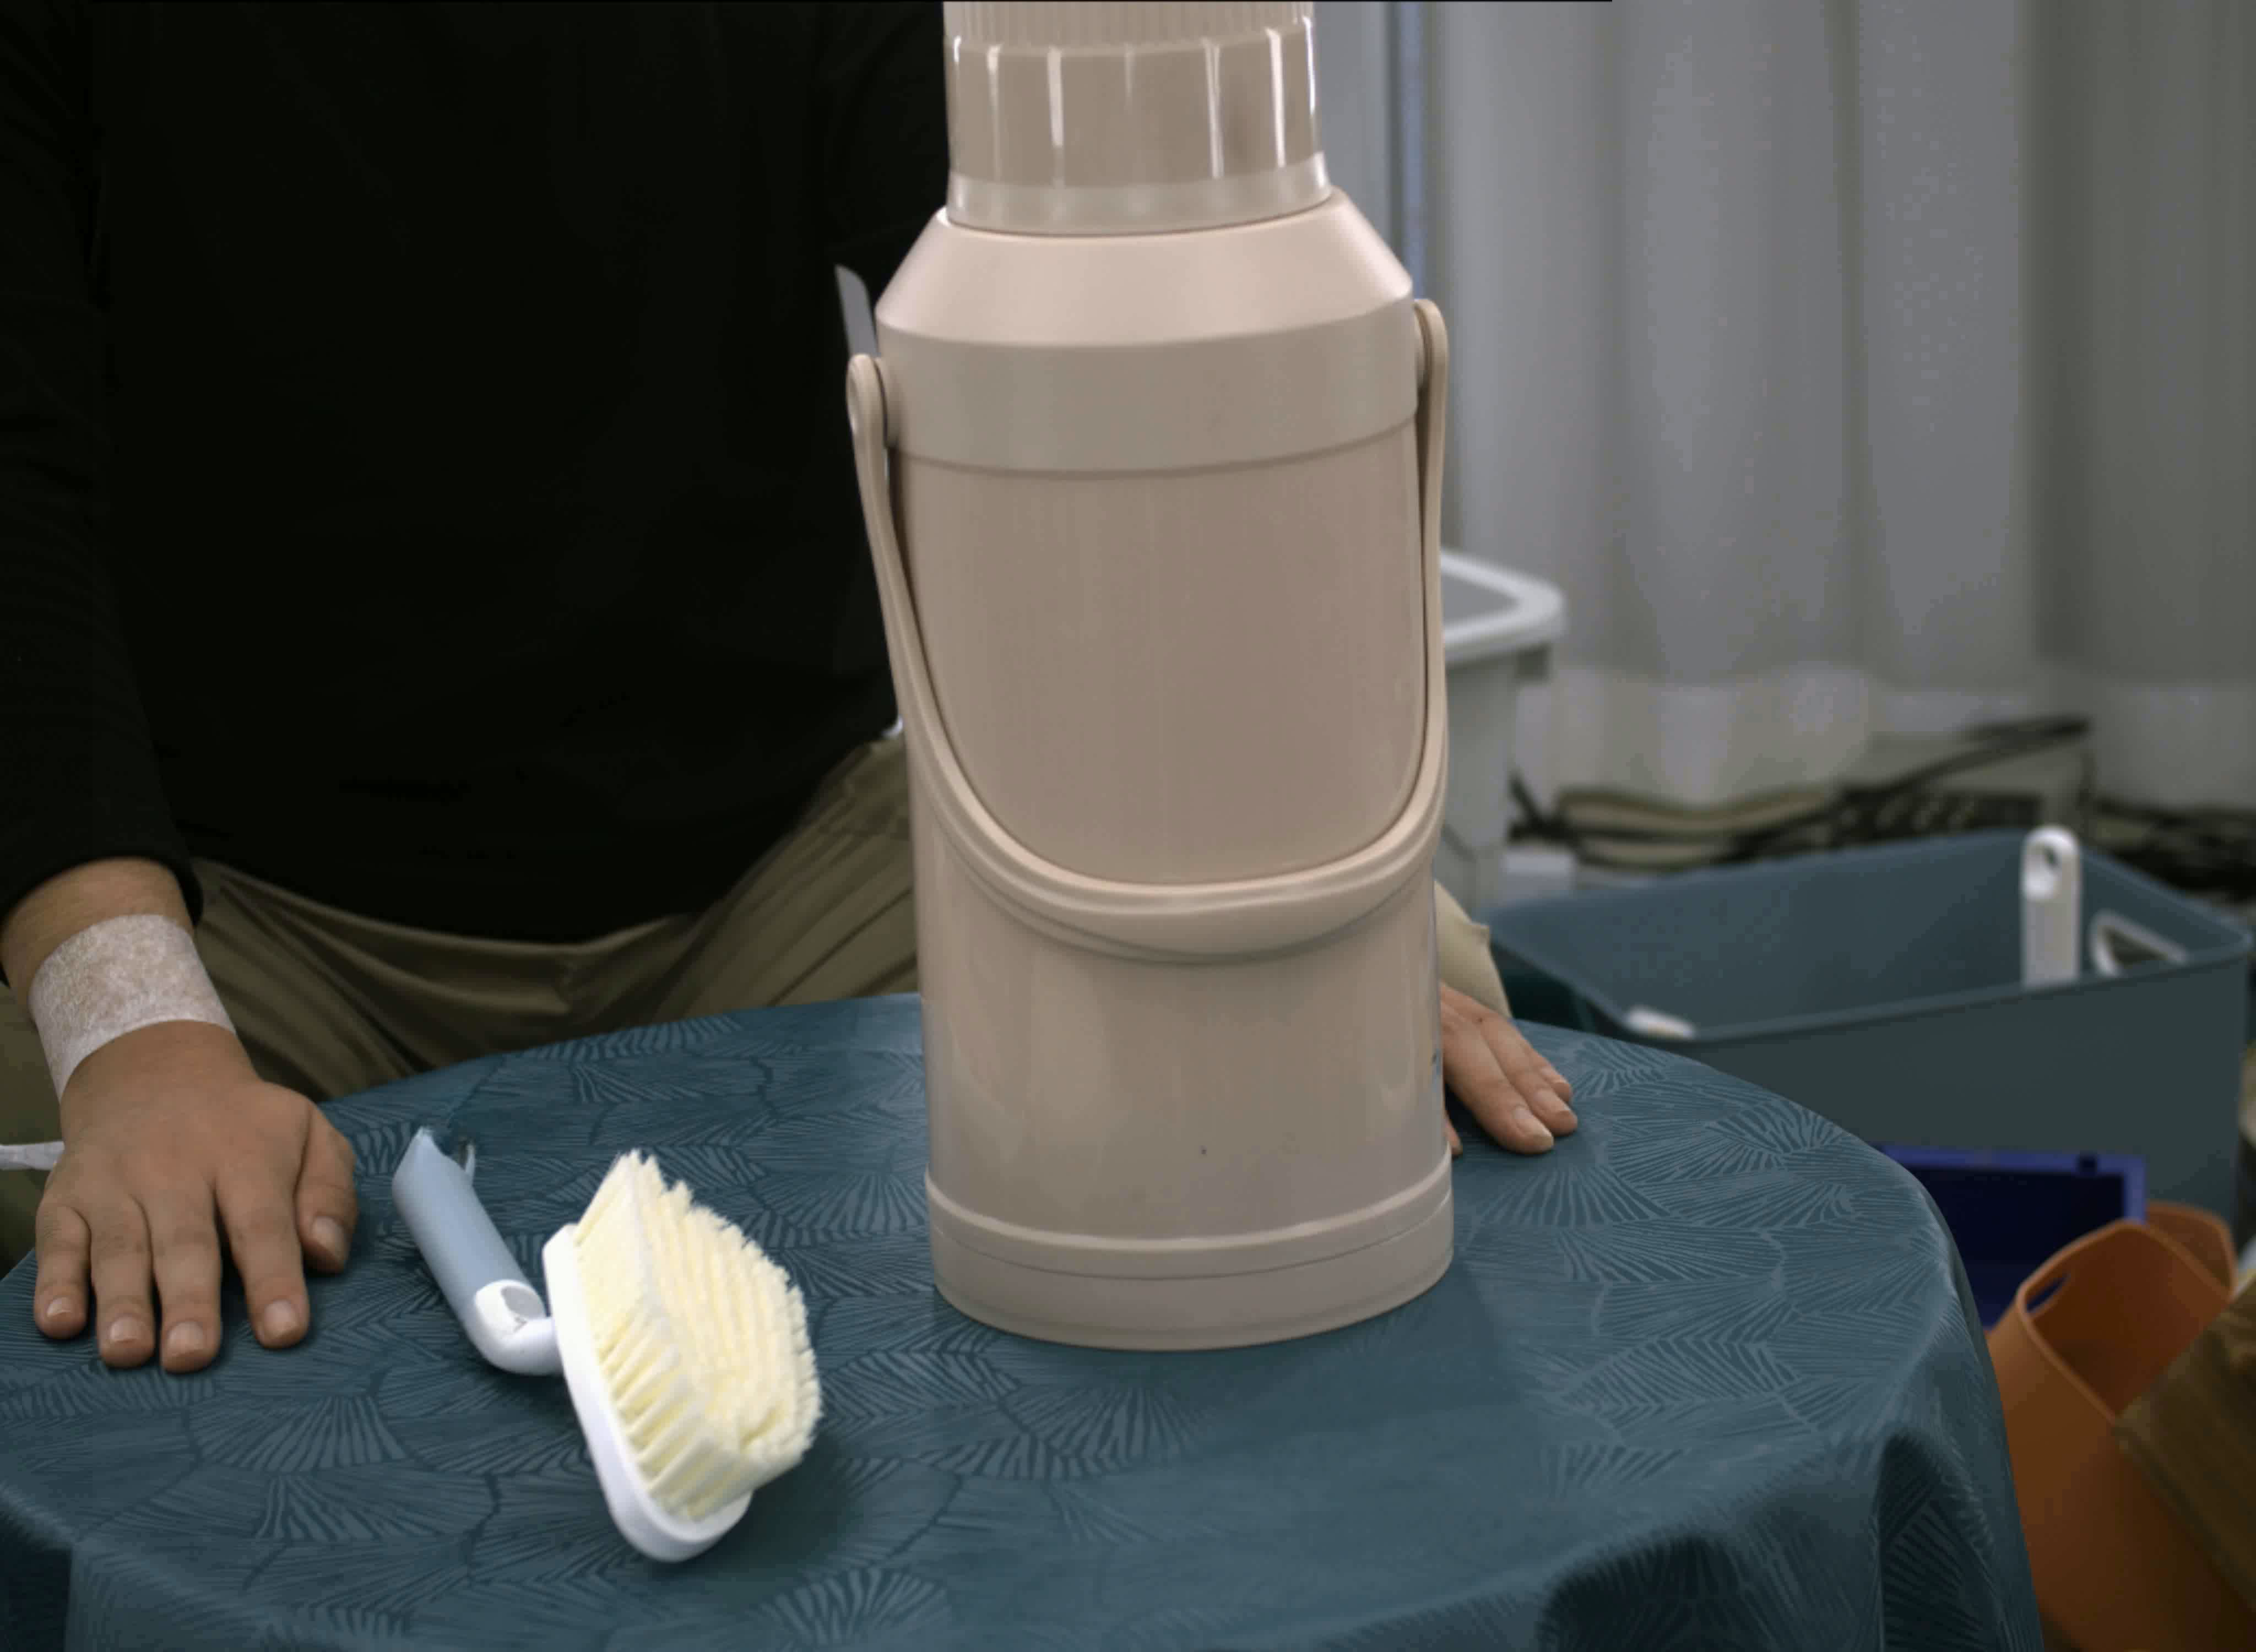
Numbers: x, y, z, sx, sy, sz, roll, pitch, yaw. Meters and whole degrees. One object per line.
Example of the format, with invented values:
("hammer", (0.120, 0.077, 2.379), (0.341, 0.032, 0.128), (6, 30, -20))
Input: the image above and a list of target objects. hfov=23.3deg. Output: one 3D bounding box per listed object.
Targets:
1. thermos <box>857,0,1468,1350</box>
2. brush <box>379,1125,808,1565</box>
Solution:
("thermos", (0.010, -0.064, 1.617), (0.174, 0.405, 0.208), (-8, 15, -14))
("brush", (-0.154, 0.118, 1.573), (0.084, 0.082, 0.328), (-12, 18, -15))
